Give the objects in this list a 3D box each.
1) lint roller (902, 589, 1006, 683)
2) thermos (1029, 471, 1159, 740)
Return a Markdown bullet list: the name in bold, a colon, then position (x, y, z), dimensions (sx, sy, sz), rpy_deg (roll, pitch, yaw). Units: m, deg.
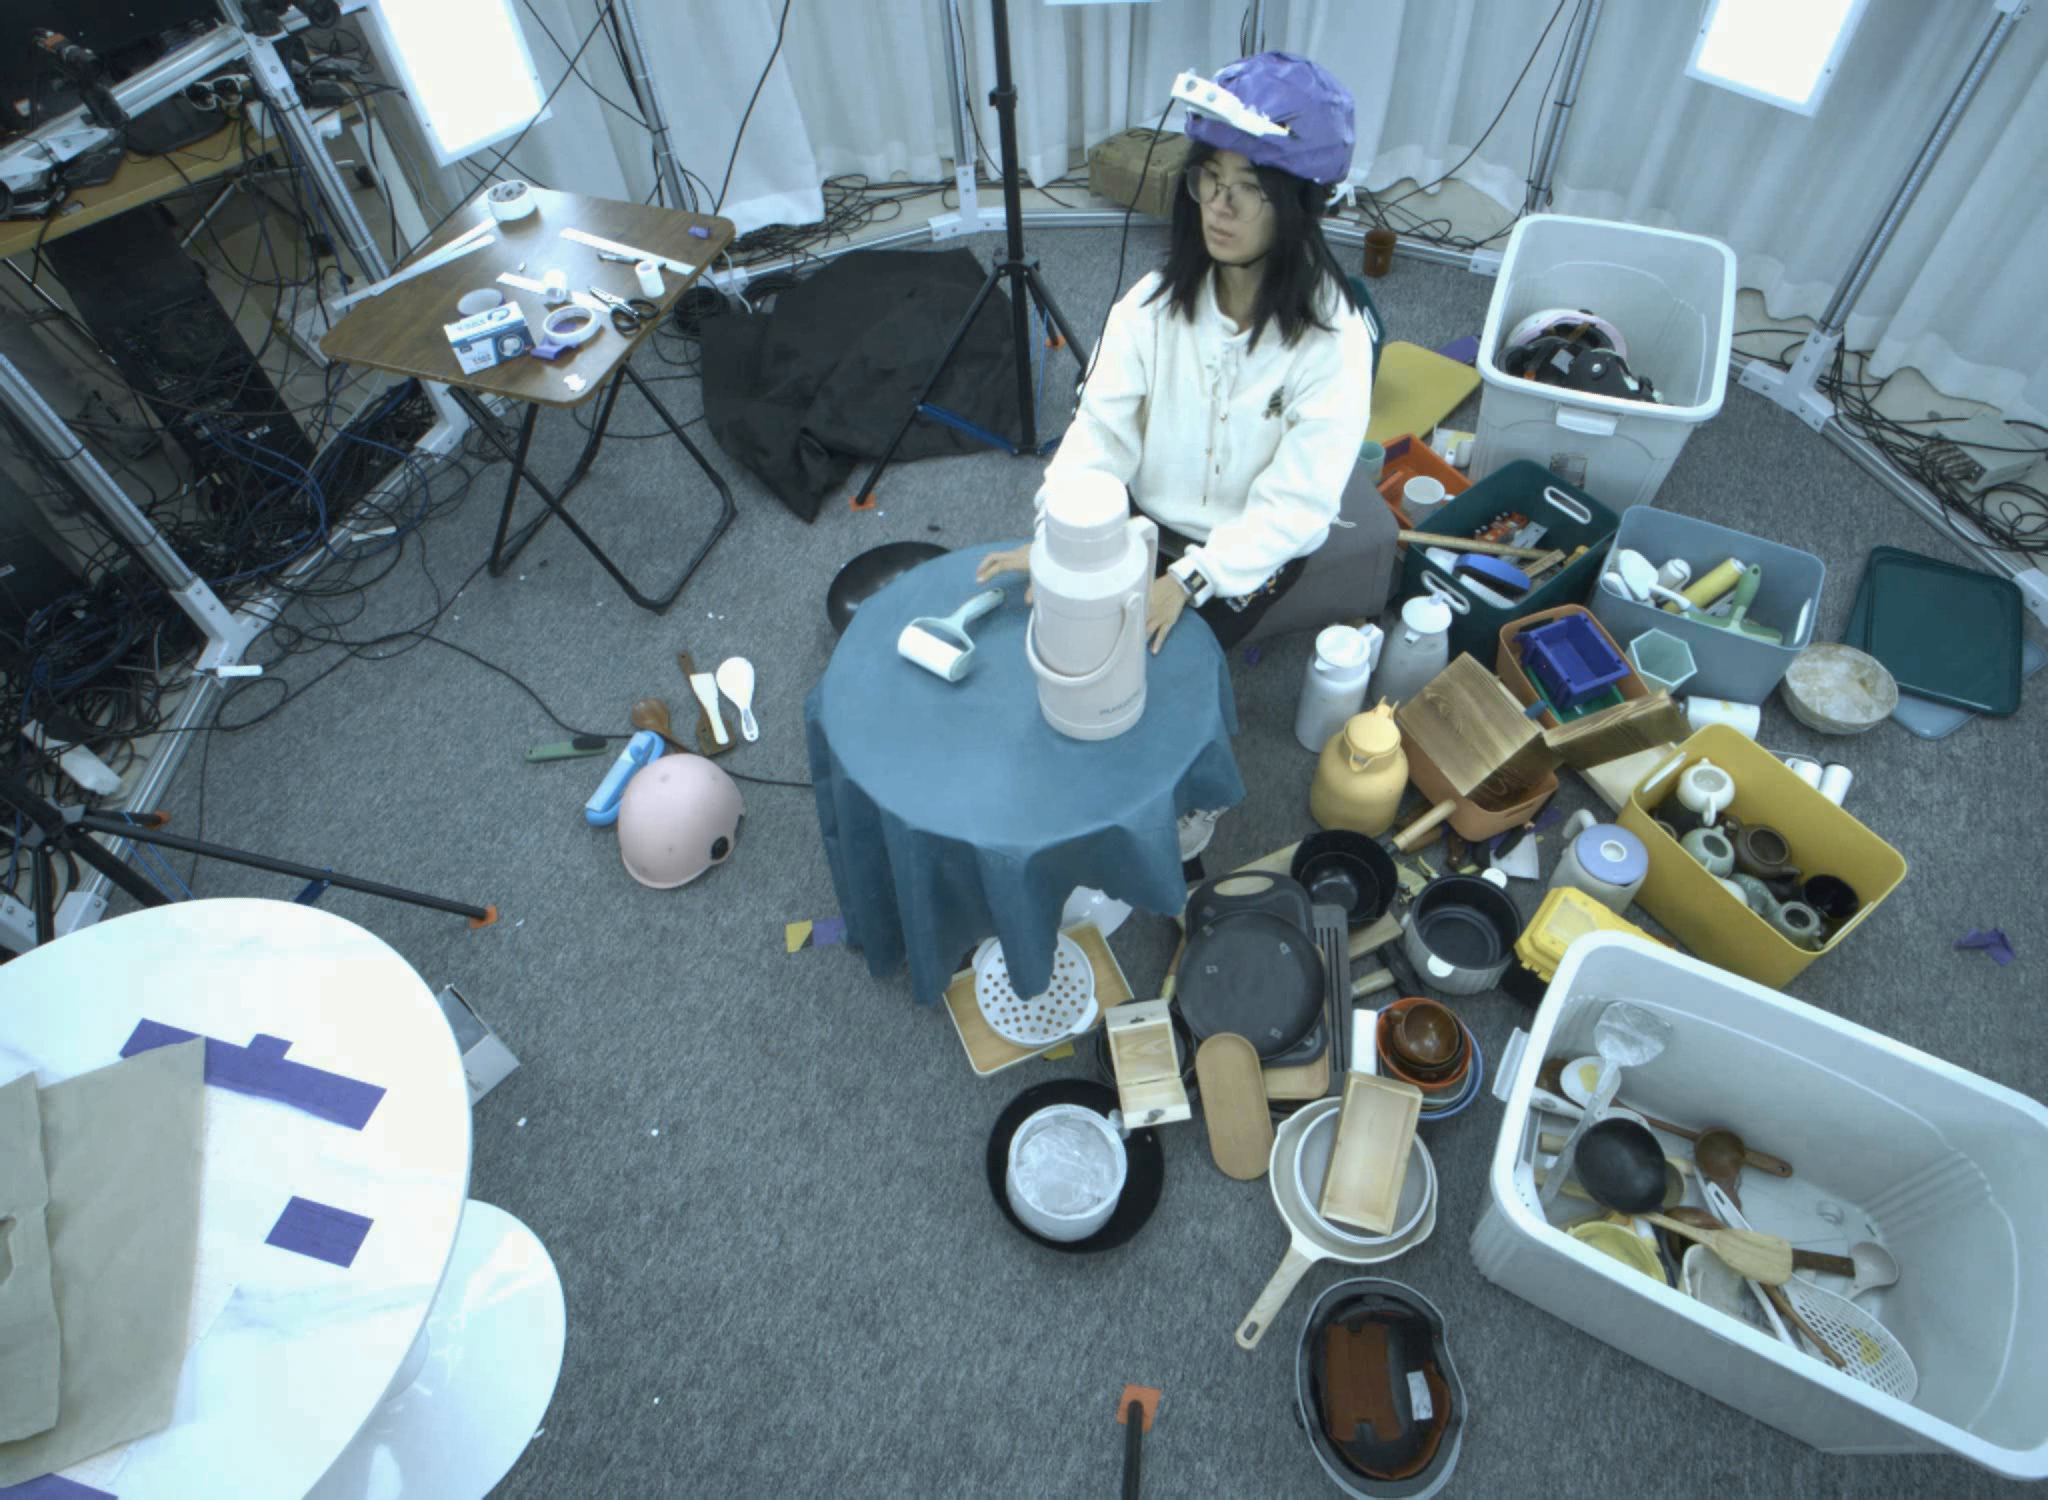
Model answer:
- **lint roller**: position (-0.089, -0.192, 1.898), dimensions (0.114, 0.049, 0.198), rpy_deg (29, 61, 23)
- **thermos**: position (0.100, -0.200, 1.682), dimensions (0.208, 0.411, 0.172), rpy_deg (-37, 60, -21)
